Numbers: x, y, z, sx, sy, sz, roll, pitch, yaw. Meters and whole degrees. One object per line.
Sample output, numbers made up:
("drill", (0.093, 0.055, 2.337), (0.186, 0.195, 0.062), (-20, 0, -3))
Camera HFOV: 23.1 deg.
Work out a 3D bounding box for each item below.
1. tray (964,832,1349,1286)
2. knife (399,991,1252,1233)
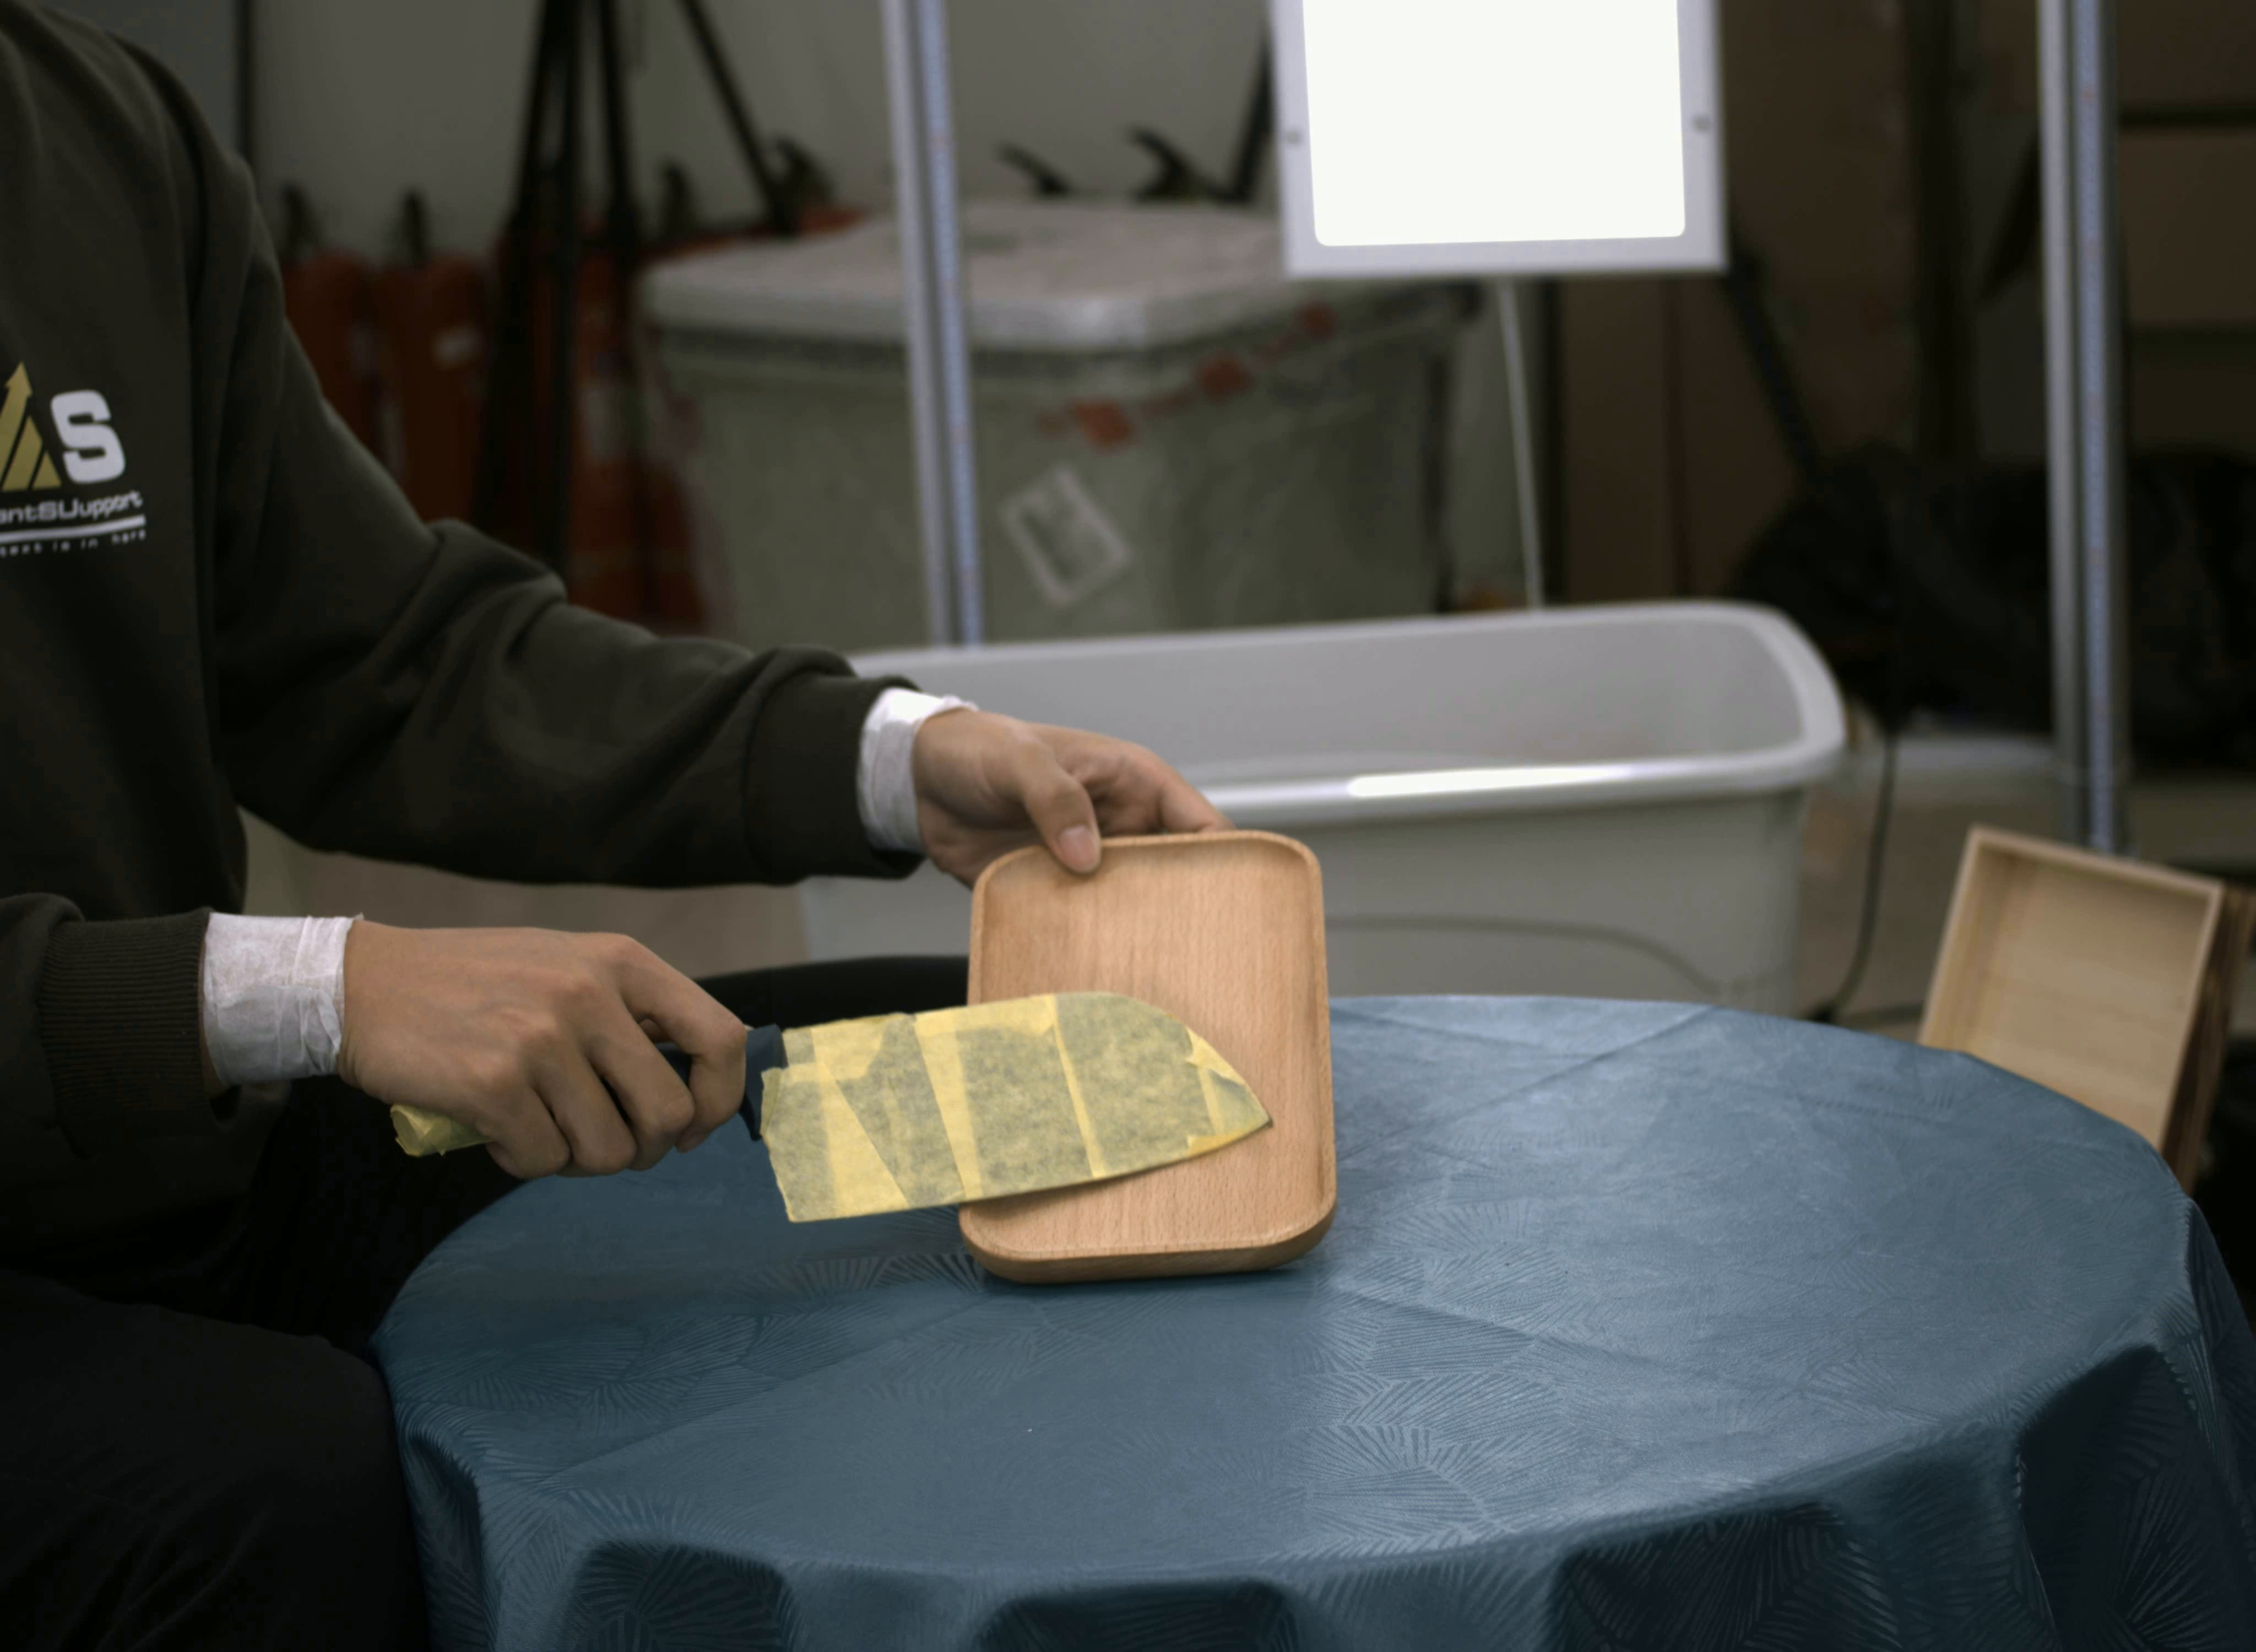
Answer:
("tray", (0.010, 0.078, 1.905), (0.131, 0.023, 0.249), (-7, 34, 5))
("knife", (-0.097, 0.099, 1.839), (0.286, 0.027, 0.081), (-6, 57, -11))
